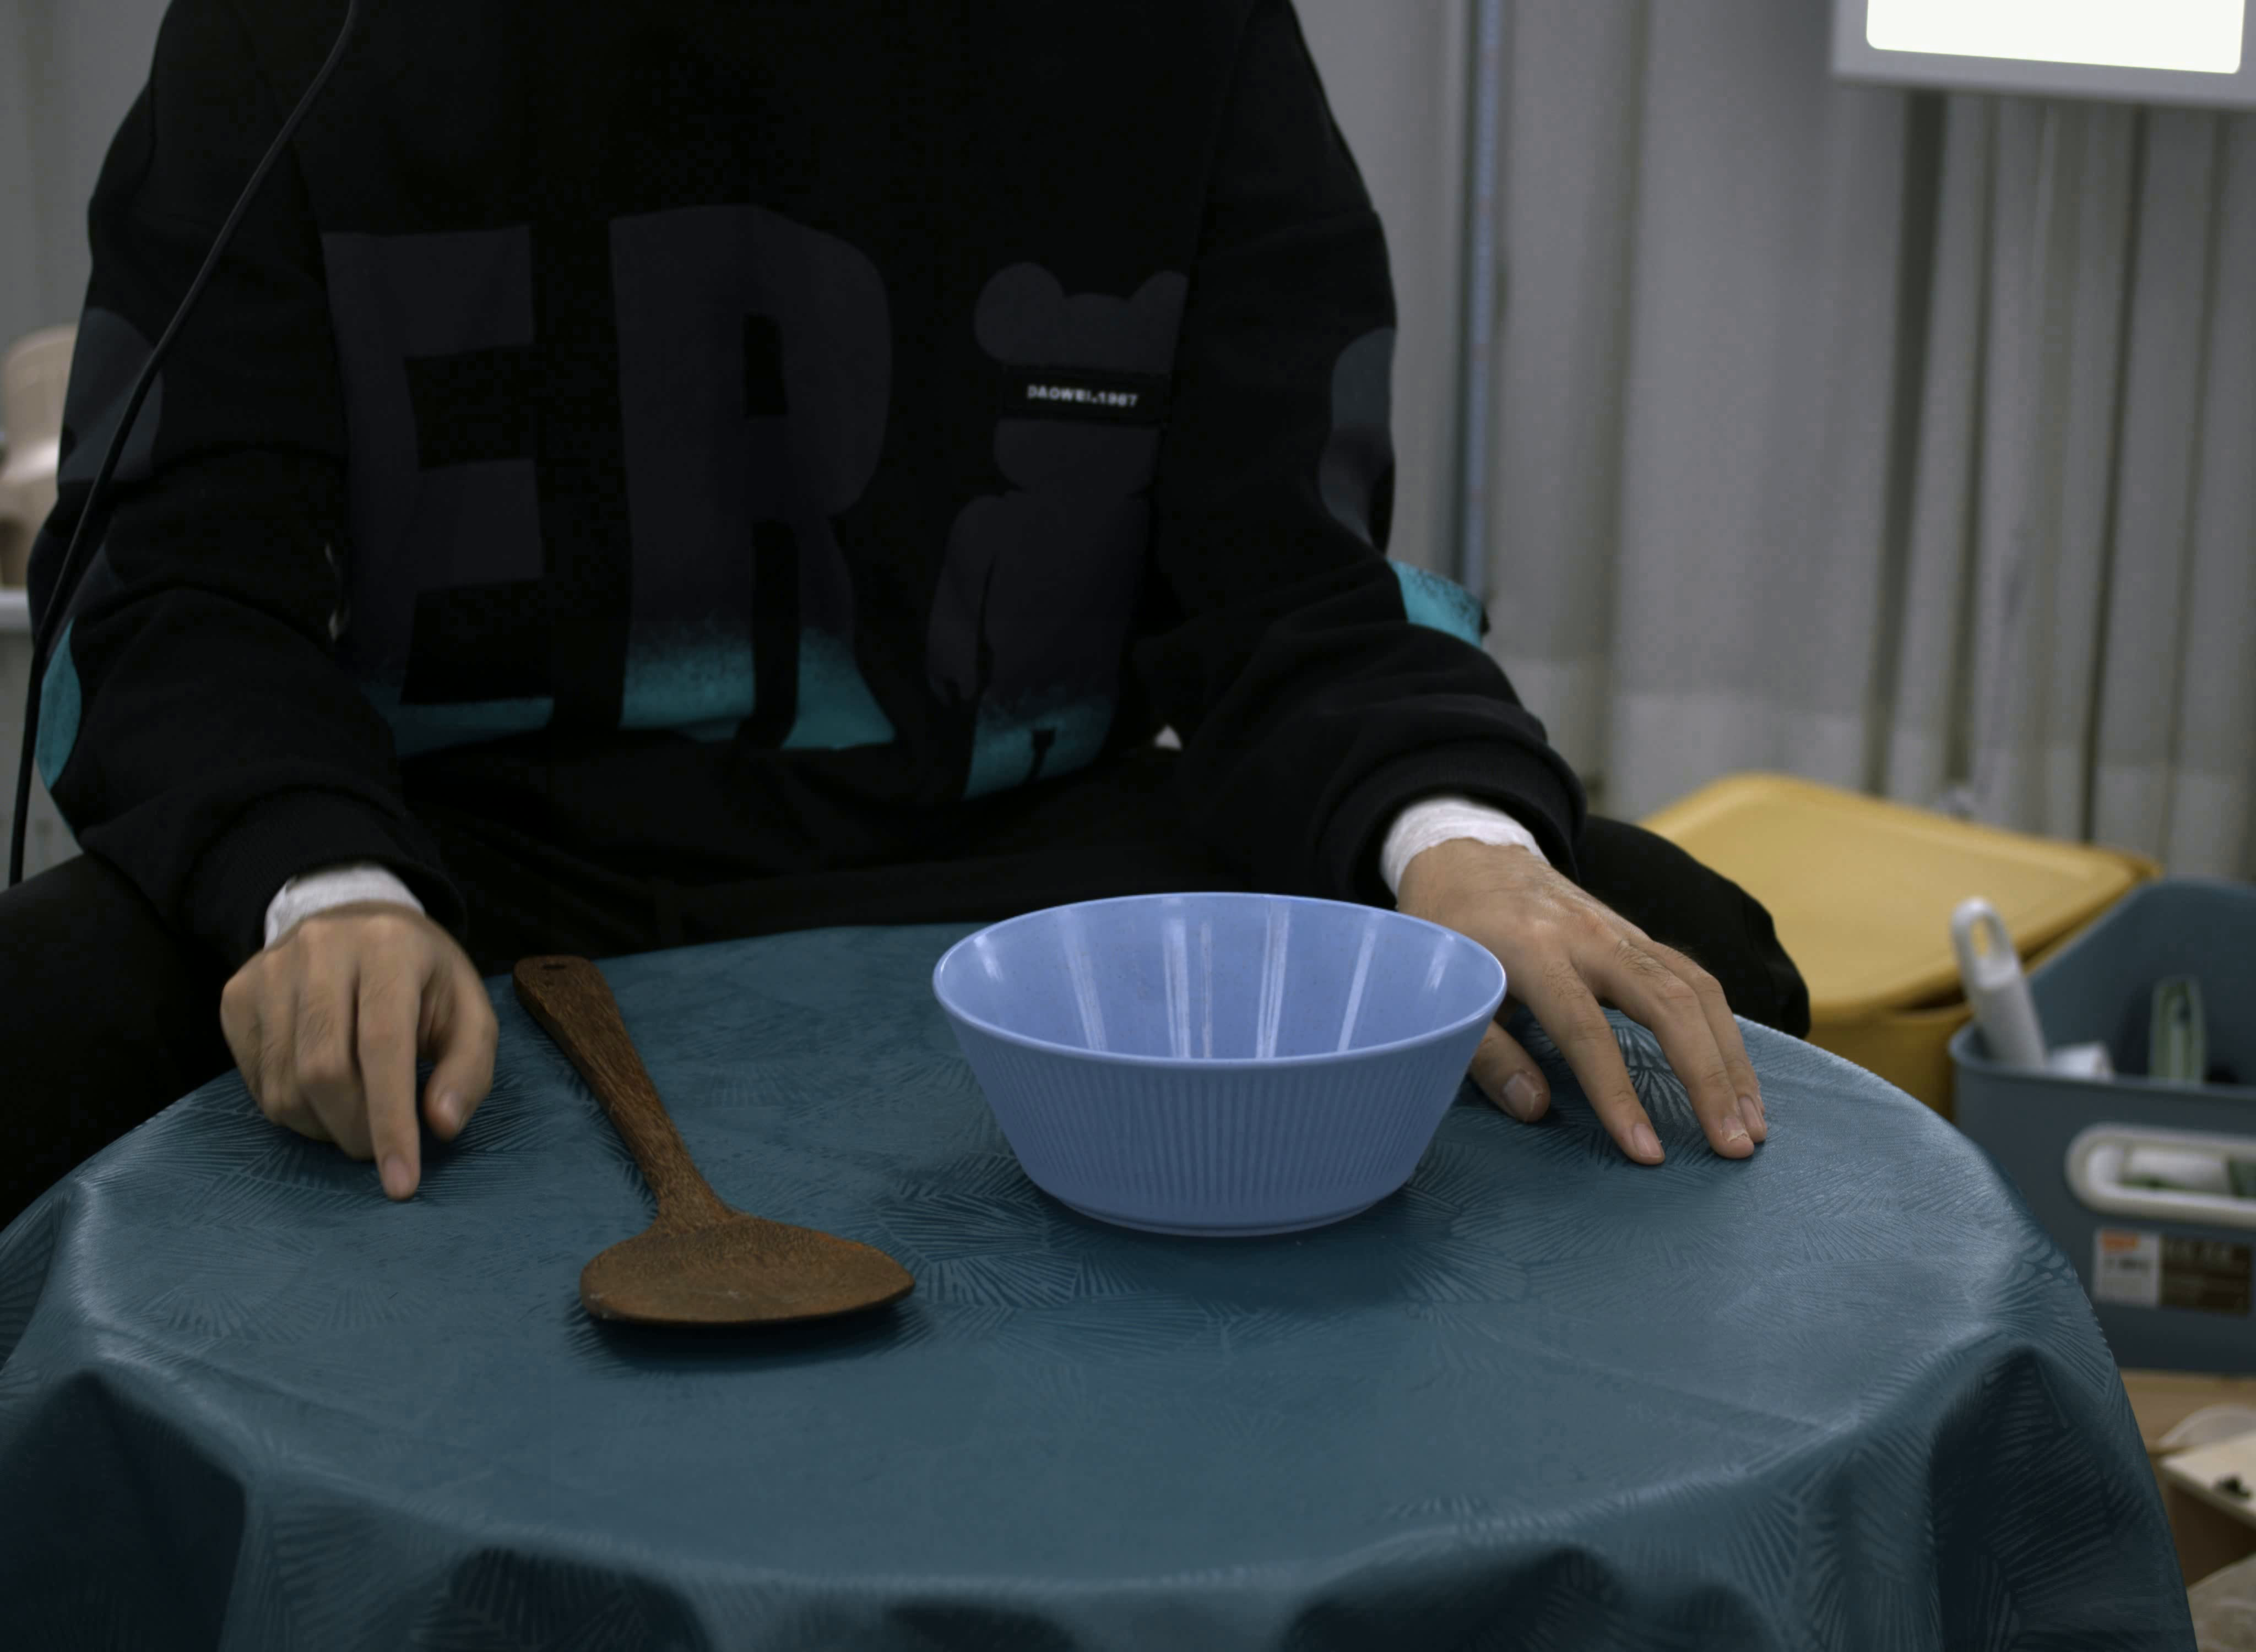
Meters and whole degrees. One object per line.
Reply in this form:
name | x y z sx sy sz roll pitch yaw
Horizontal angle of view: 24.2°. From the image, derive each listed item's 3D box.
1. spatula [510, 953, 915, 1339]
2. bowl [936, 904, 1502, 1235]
spatula | -0.152 0.094 1.659 0.096 0.016 0.382 -3 16 -16
bowl | 0.028 0.077 1.626 0.175 0.071 0.175 1 14 0
